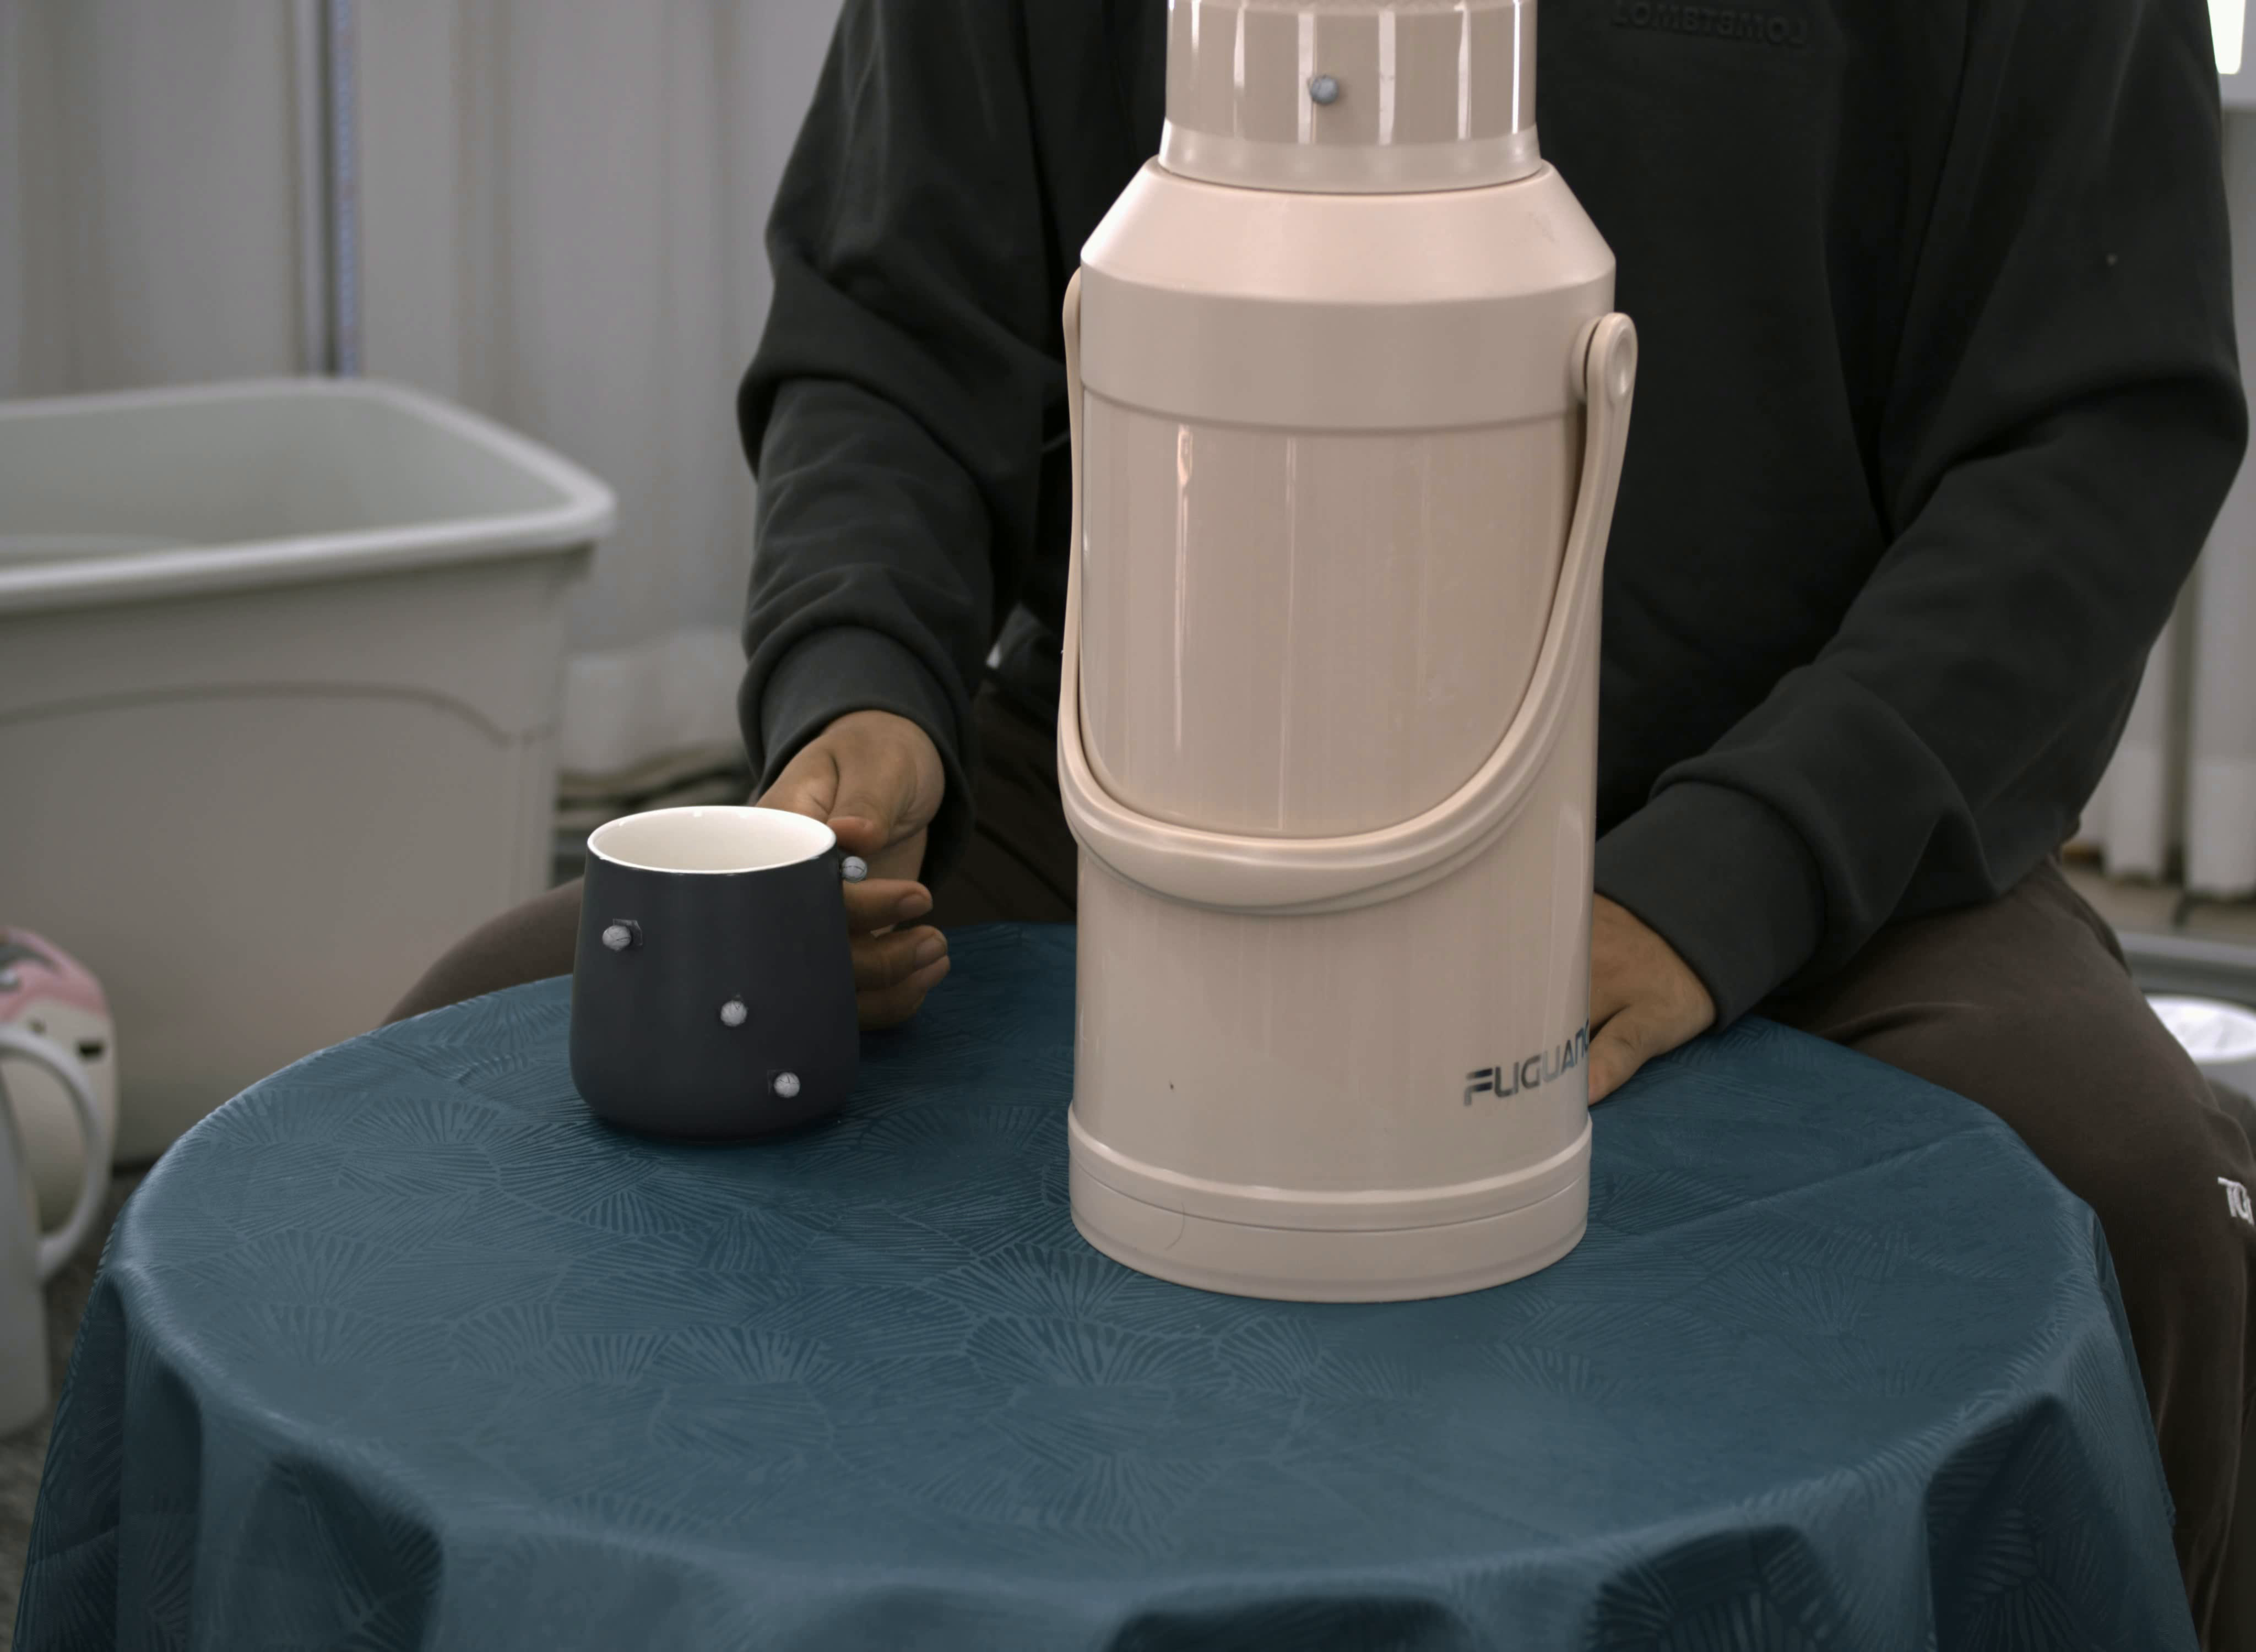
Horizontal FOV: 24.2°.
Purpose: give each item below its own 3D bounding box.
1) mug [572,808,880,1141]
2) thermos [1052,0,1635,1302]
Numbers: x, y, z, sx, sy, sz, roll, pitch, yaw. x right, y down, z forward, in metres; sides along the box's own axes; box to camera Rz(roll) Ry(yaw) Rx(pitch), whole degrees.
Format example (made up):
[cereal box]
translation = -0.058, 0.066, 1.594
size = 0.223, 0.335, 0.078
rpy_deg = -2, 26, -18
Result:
[mug]
translation = -0.123, 0.044, 1.697
size = 0.092, 0.090, 0.124
rpy_deg = 12, 19, 34
[thermos]
translation = 0.069, -0.076, 1.566
size = 0.173, 0.410, 0.207
rpy_deg = 8, 18, 25
